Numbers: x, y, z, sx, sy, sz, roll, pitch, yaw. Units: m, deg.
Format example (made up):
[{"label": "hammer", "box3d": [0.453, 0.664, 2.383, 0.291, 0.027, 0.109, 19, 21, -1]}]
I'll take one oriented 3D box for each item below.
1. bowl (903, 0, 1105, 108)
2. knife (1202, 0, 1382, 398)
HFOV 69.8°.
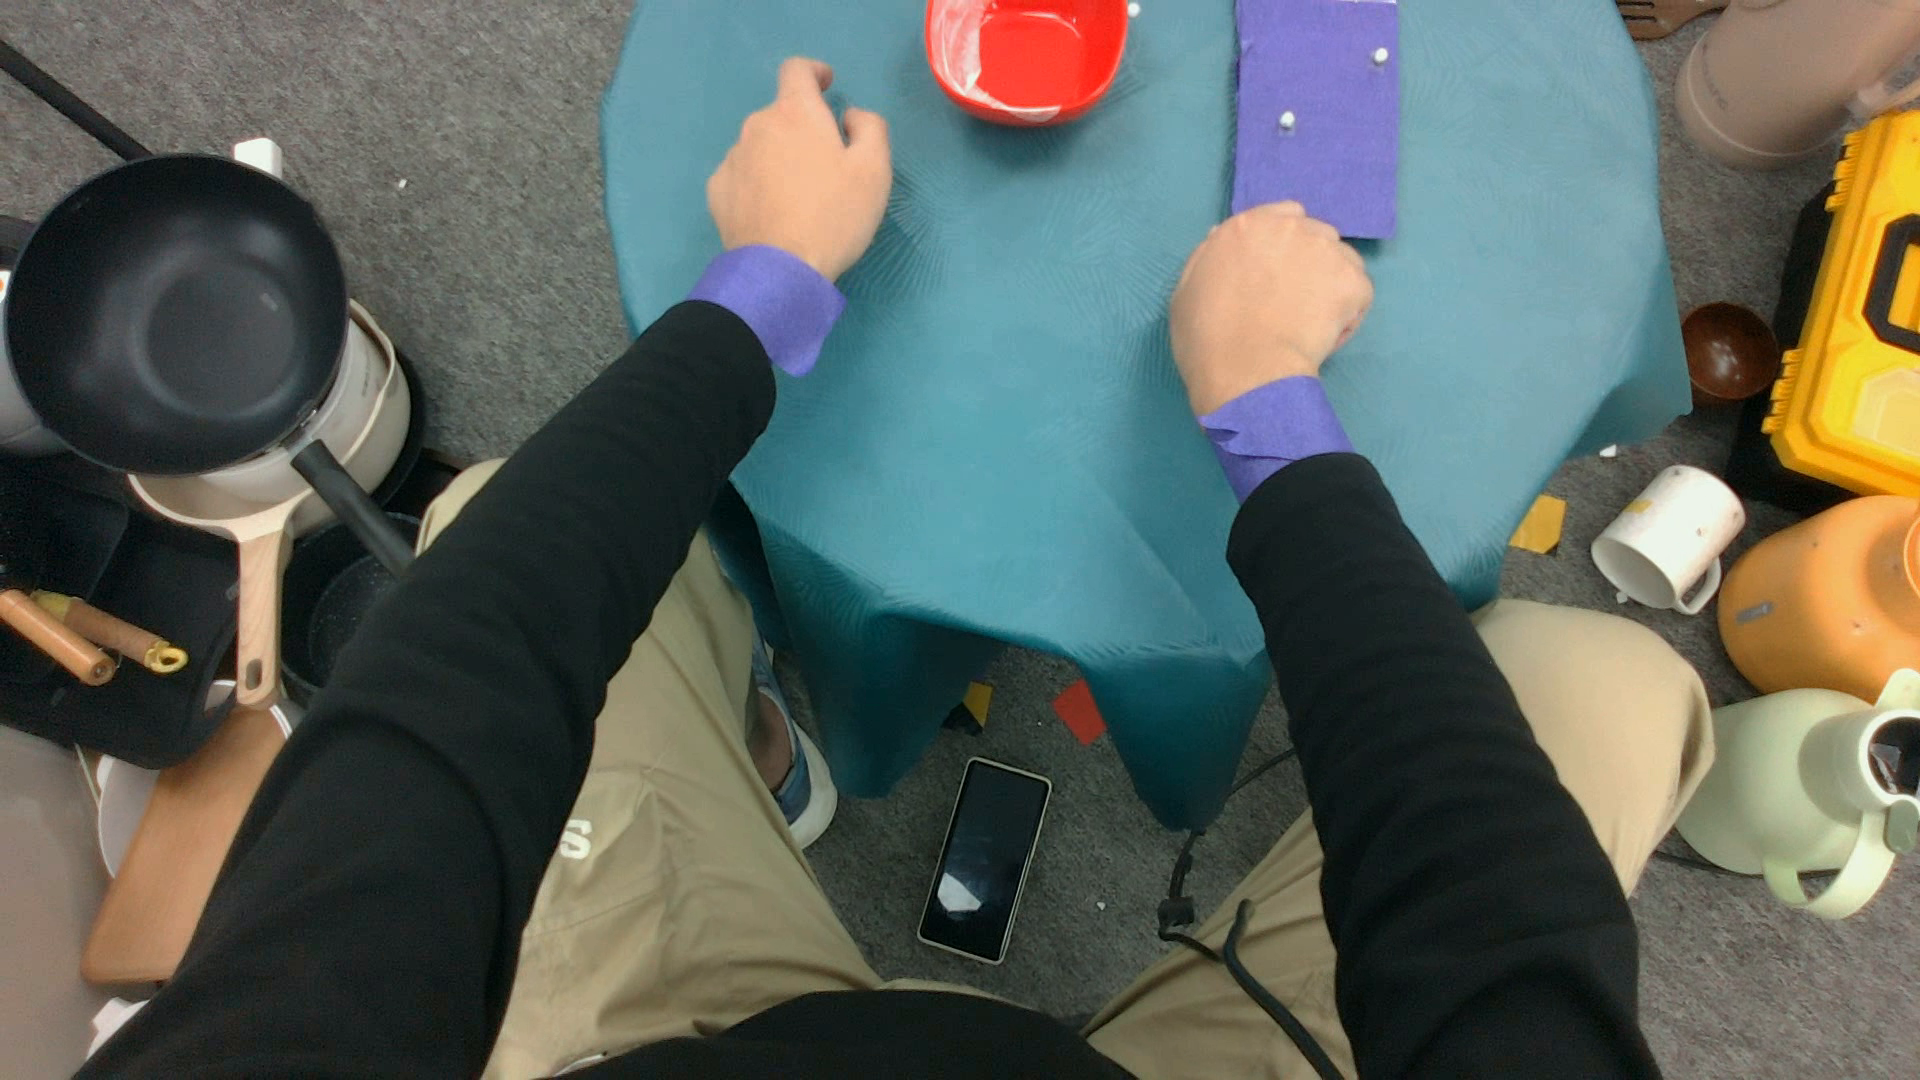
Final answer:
[{"label": "bowl", "box3d": [0.024, -0.286, 0.774, 0.119, 0.051, 0.119, 0, 72, -1]}, {"label": "knife", "box3d": [0.184, -0.229, 0.771, 0.104, 0.032, 0.316, 3, 74, 2]}]
